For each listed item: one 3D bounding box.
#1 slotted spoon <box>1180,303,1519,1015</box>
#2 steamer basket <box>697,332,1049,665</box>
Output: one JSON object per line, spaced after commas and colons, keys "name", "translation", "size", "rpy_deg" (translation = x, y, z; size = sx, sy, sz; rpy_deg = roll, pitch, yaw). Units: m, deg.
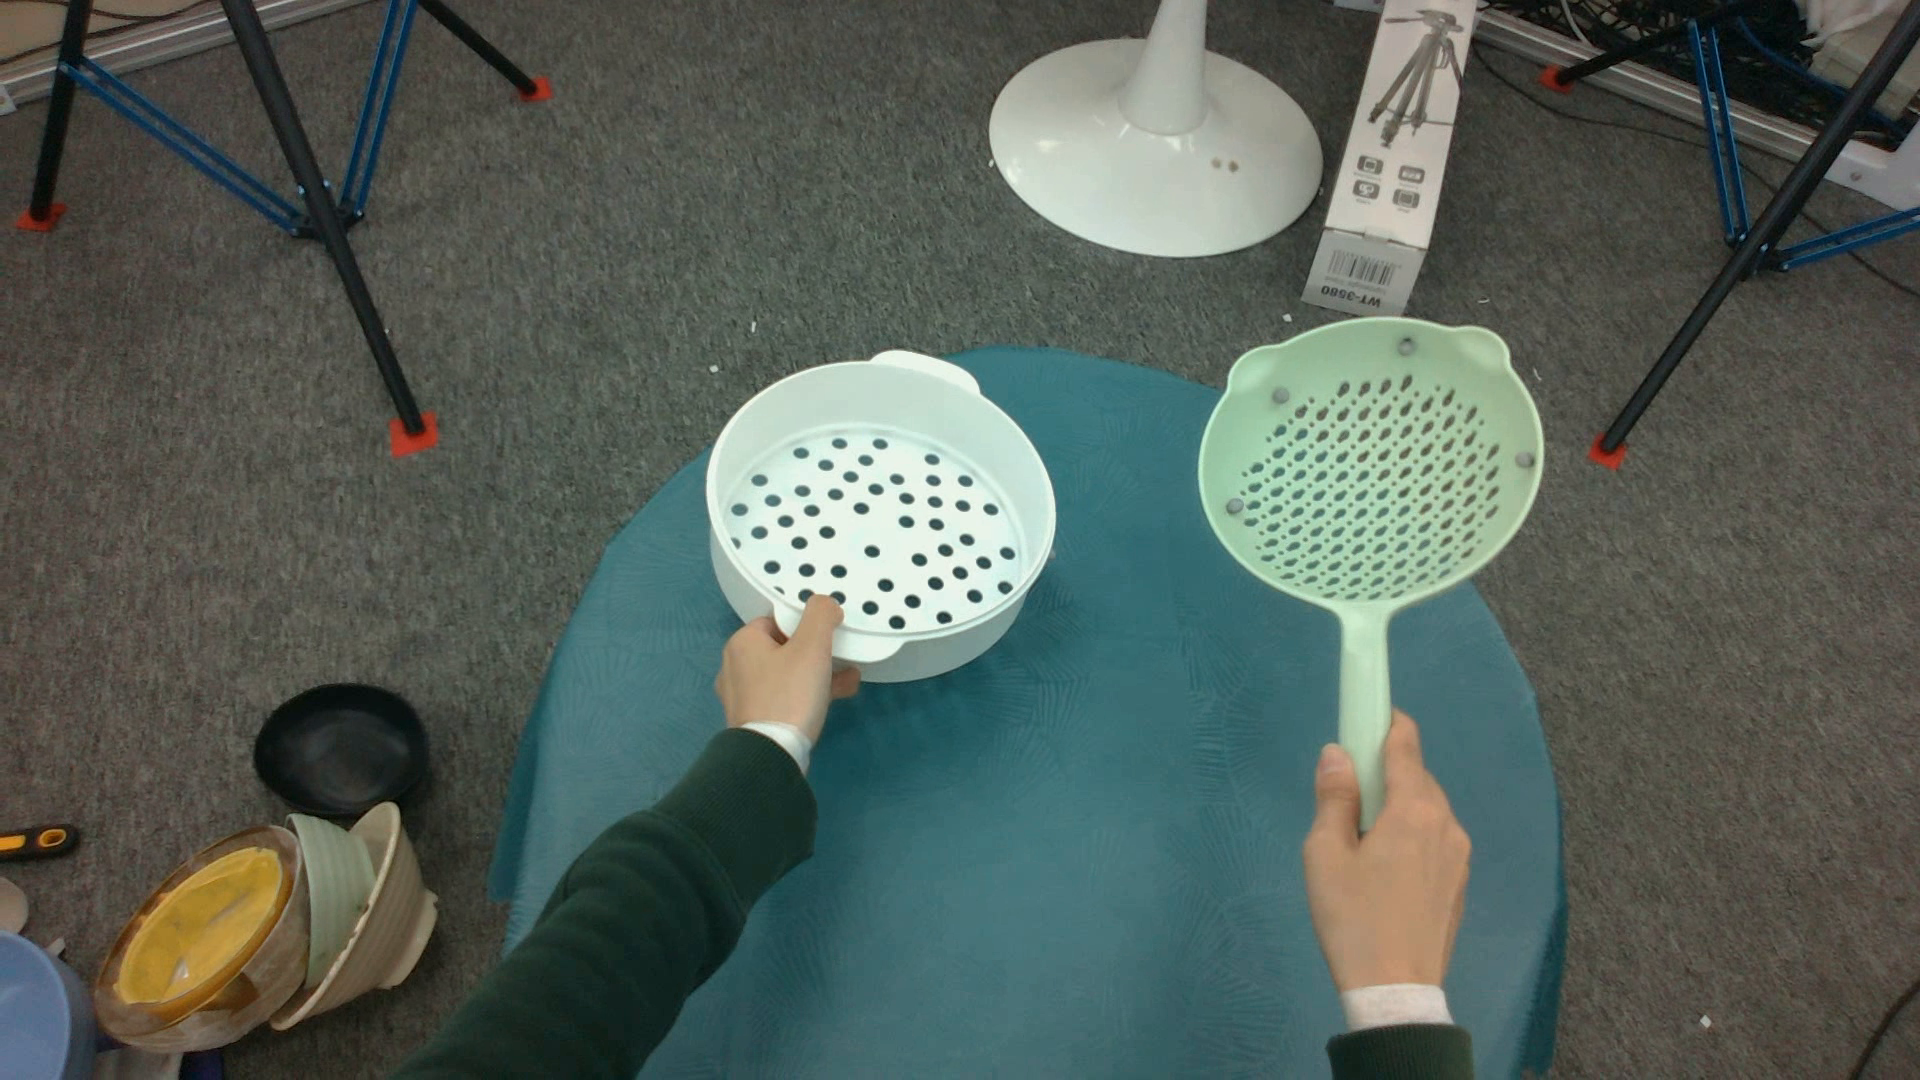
{"name": "slotted spoon", "translation": [0.191, 0.041, 0.677], "size": [0.169, 0.075, 0.360], "rpy_deg": [-4, 54, 21]}
{"name": "steamer basket", "translation": [-0.052, -0.021, 0.808], "size": [0.202, 0.069, 0.232], "rpy_deg": [15, 52, -1]}
